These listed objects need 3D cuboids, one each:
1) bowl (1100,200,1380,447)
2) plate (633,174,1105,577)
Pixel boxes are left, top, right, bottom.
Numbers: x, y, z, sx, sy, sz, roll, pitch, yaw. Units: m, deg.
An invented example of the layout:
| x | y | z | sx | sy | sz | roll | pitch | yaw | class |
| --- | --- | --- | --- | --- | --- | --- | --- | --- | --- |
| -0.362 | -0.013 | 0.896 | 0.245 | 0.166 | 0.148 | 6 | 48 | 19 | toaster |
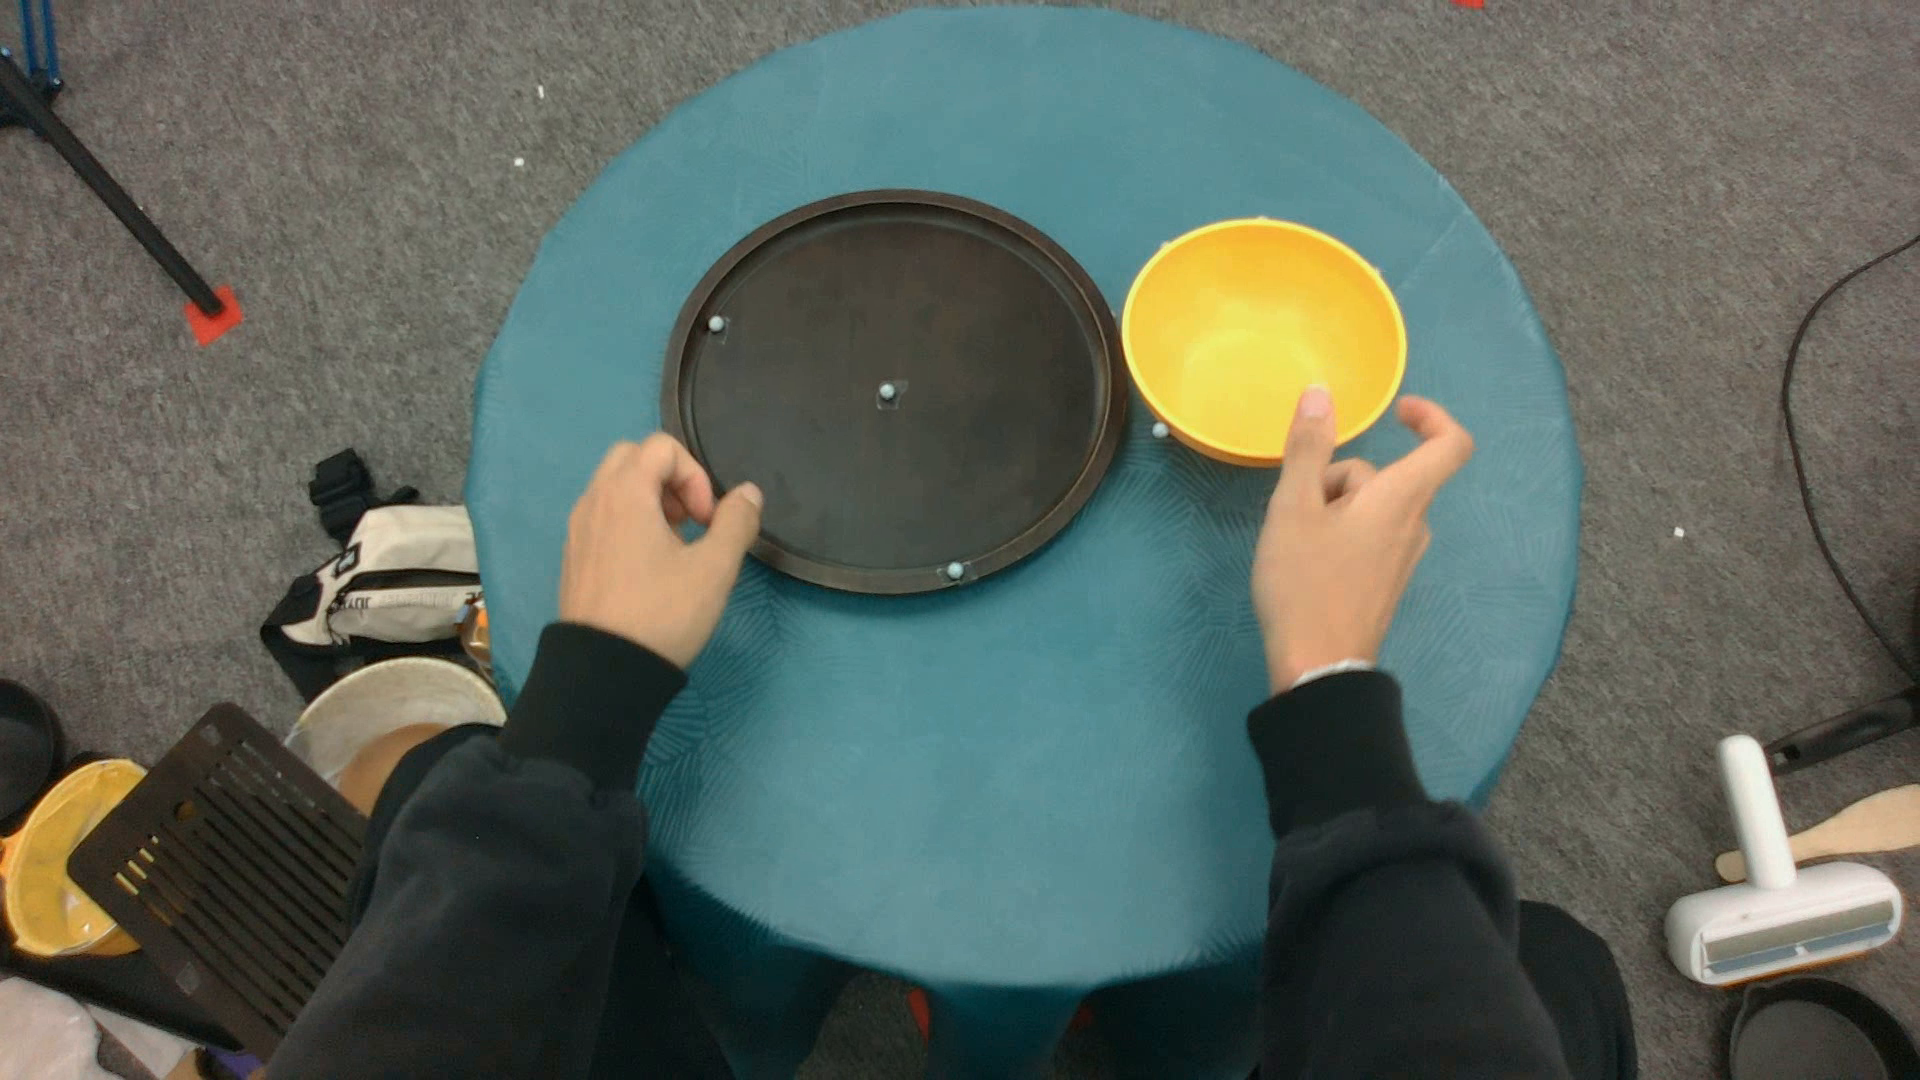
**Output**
| x | y | z | sx | sy | sz | roll | pitch | yaw | class |
| --- | --- | --- | --- | --- | --- | --- | --- | --- | --- |
| 0.145 | -0.106 | 0.739 | 0.145 | 0.060 | 0.146 | 0 | 67 | 0 | bowl |
| -0.048 | -0.094 | 0.747 | 0.255 | 0.029 | 0.255 | 1 | 66 | -3 | plate |
